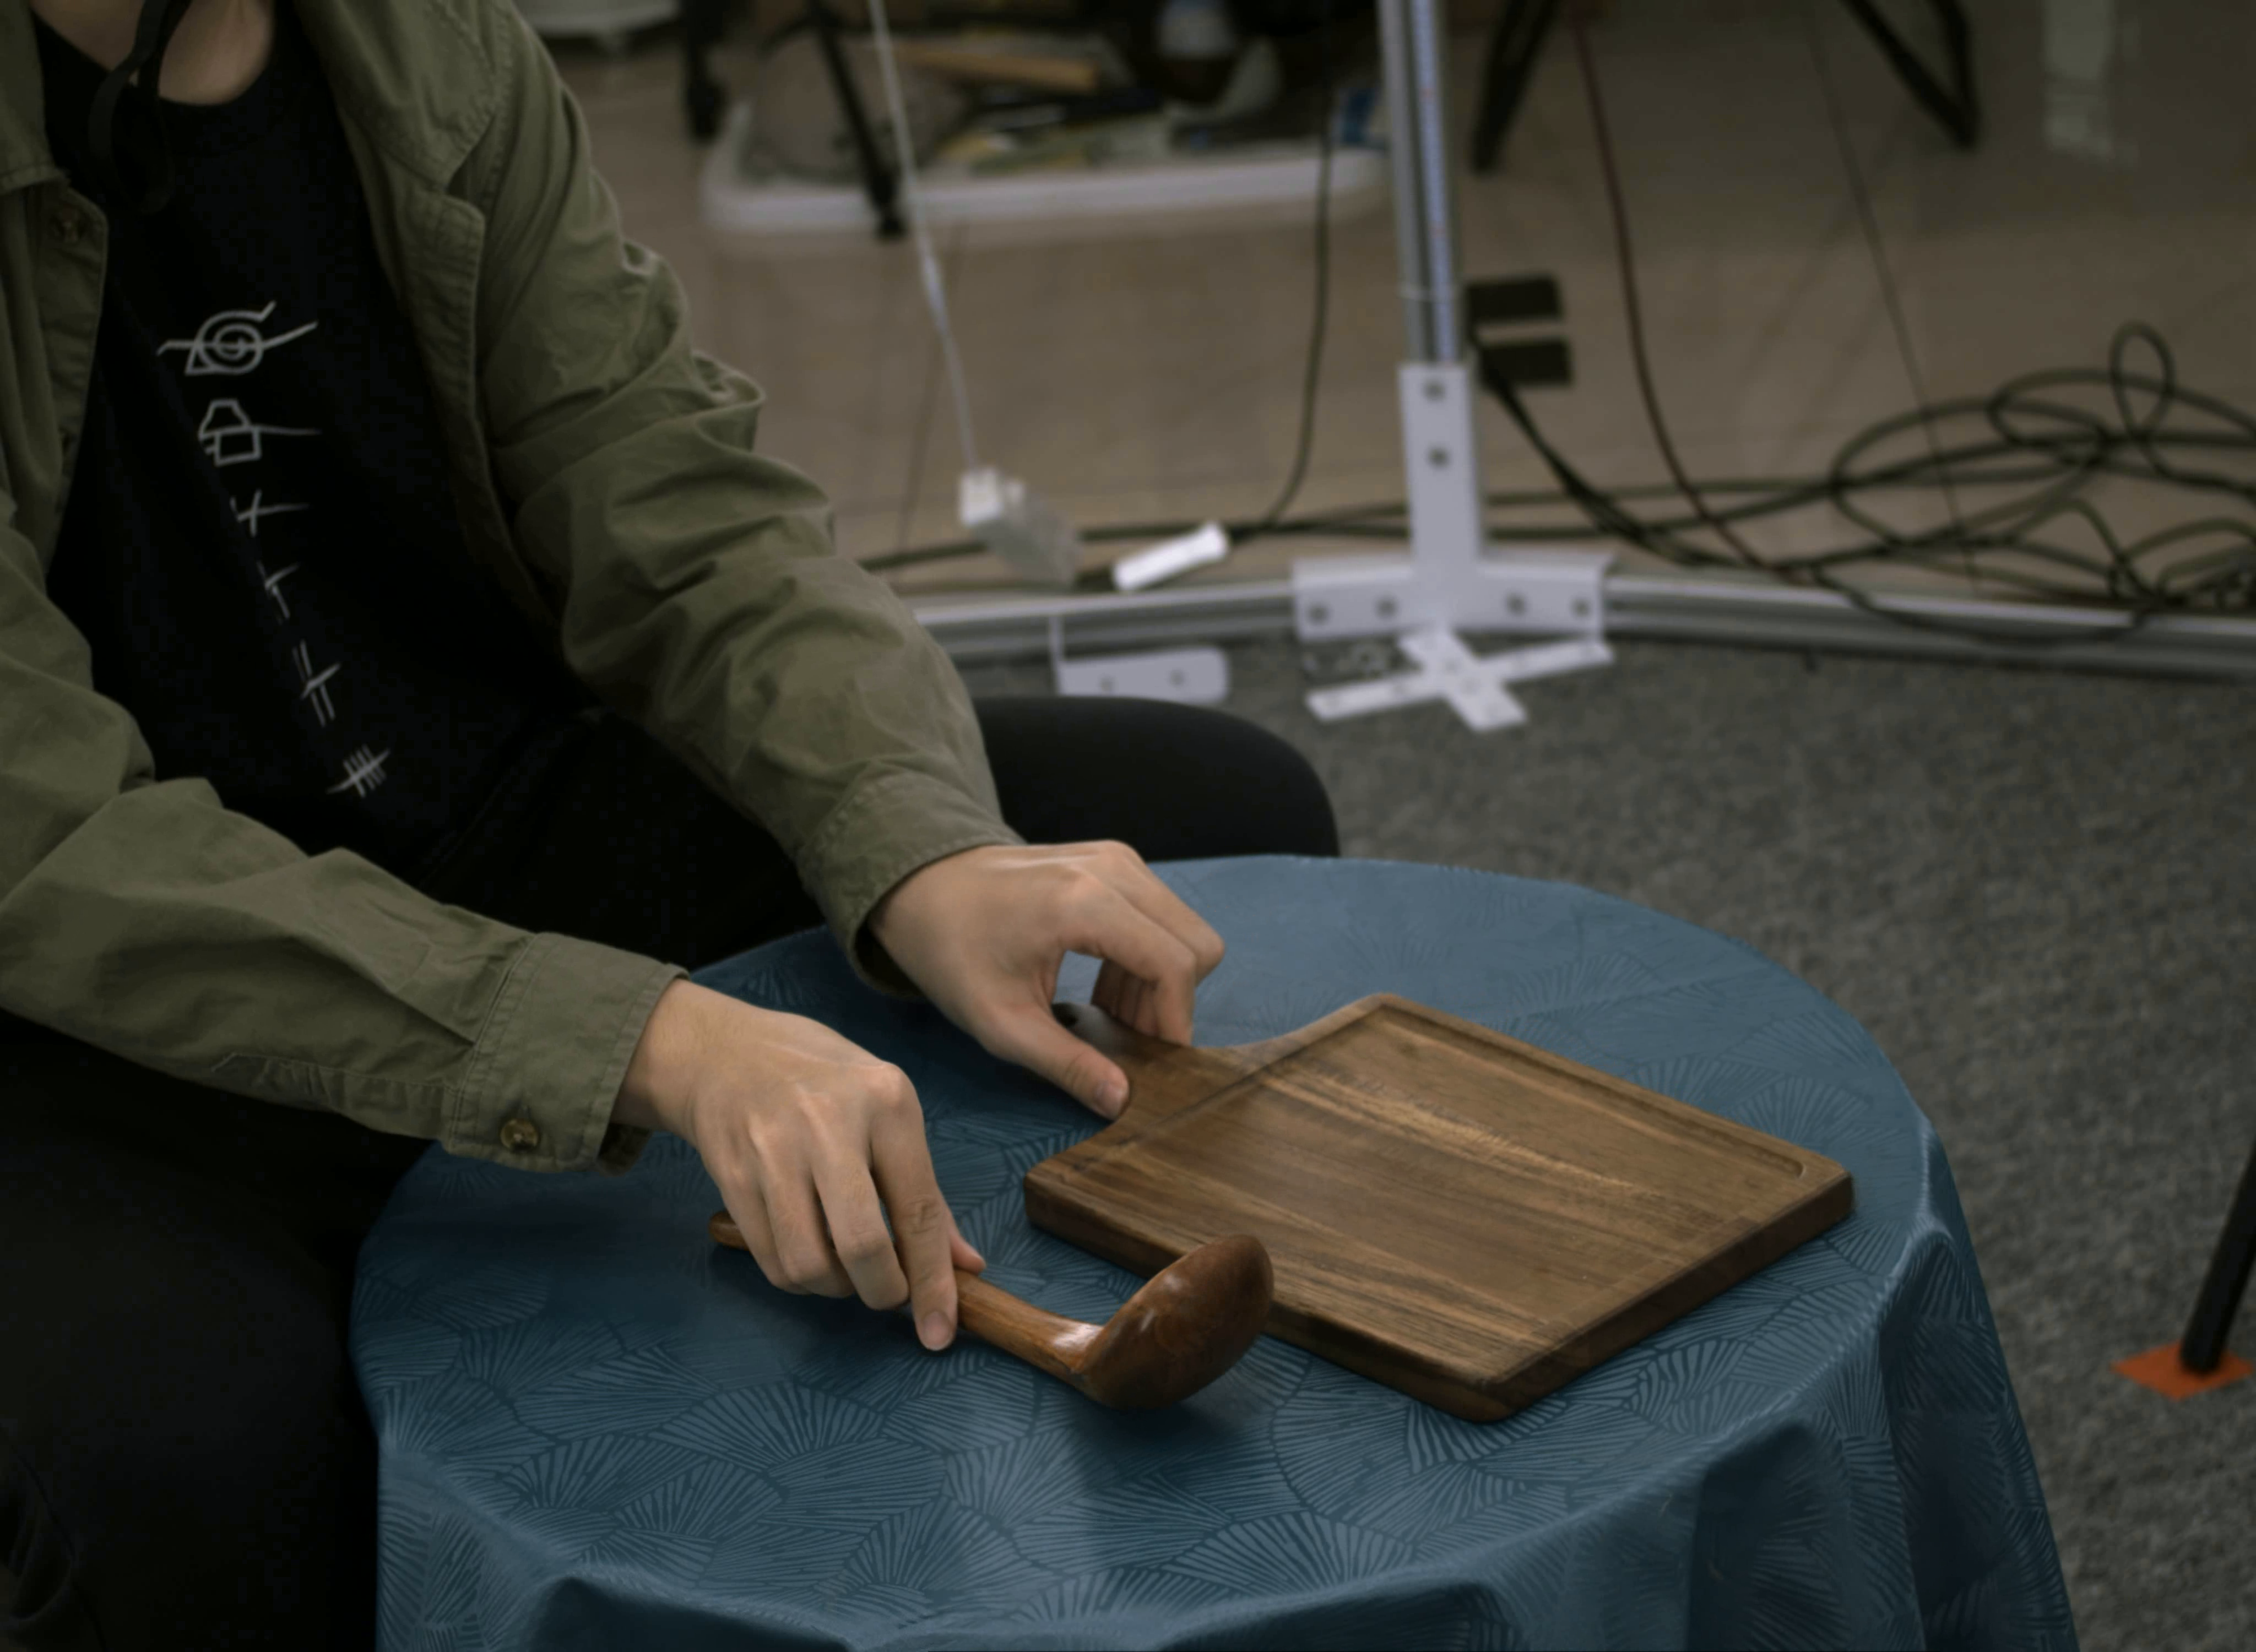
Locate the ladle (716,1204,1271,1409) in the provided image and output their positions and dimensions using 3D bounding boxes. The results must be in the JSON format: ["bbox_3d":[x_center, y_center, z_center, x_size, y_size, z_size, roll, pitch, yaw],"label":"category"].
[{"bbox_3d":[-0.059,0.151,2.051,0.081,0.077,0.272,-20,27,-41],"label":"ladle"}]

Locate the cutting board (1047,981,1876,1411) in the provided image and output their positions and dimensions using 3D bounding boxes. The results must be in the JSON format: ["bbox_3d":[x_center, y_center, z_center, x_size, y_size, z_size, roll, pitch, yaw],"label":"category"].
[{"bbox_3d":[0.091,0.119,2.145,0.199,0.023,0.349,-25,31,-34],"label":"cutting board"}]
